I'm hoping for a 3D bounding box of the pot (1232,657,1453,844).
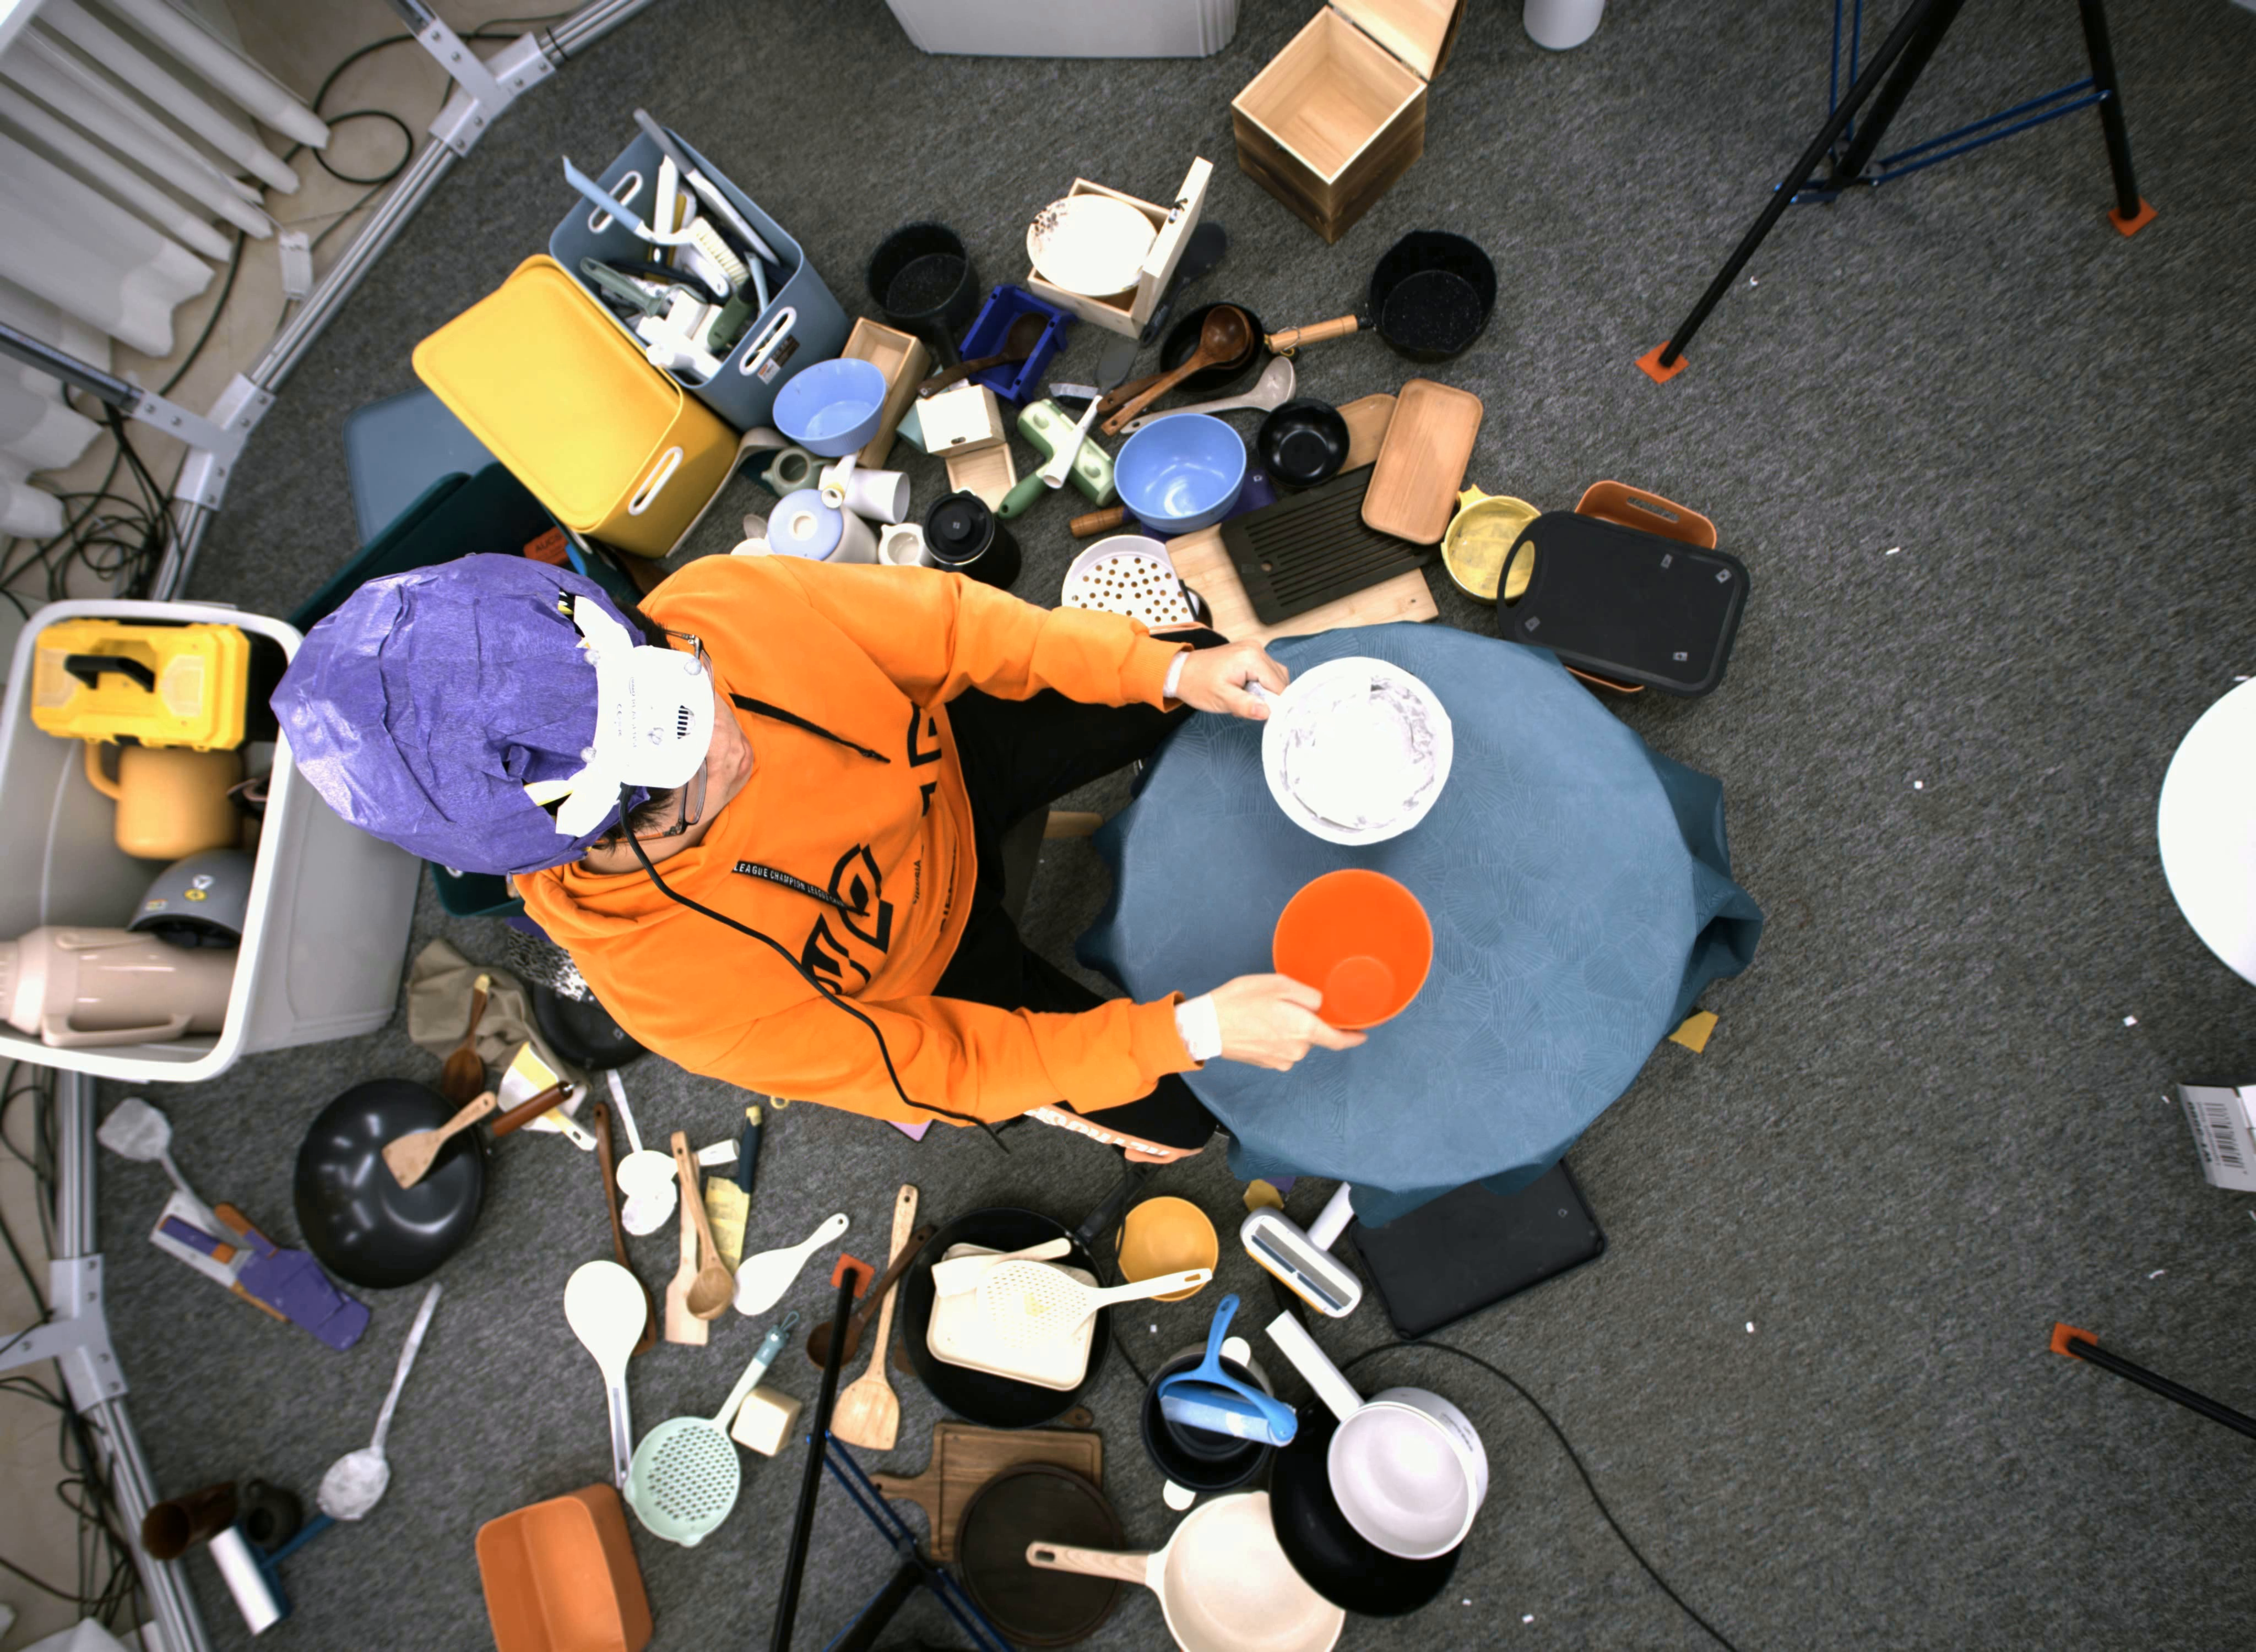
[{"bbox_3d":[0.205,-0.089,1.358,0.233,0.135,0.180,27,102,10],"label":"pot"}]

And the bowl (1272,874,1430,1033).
[{"bbox_3d":[0.217,0.133,1.325,0.149,0.106,0.145,-6,67,14],"label":"bowl"}]
